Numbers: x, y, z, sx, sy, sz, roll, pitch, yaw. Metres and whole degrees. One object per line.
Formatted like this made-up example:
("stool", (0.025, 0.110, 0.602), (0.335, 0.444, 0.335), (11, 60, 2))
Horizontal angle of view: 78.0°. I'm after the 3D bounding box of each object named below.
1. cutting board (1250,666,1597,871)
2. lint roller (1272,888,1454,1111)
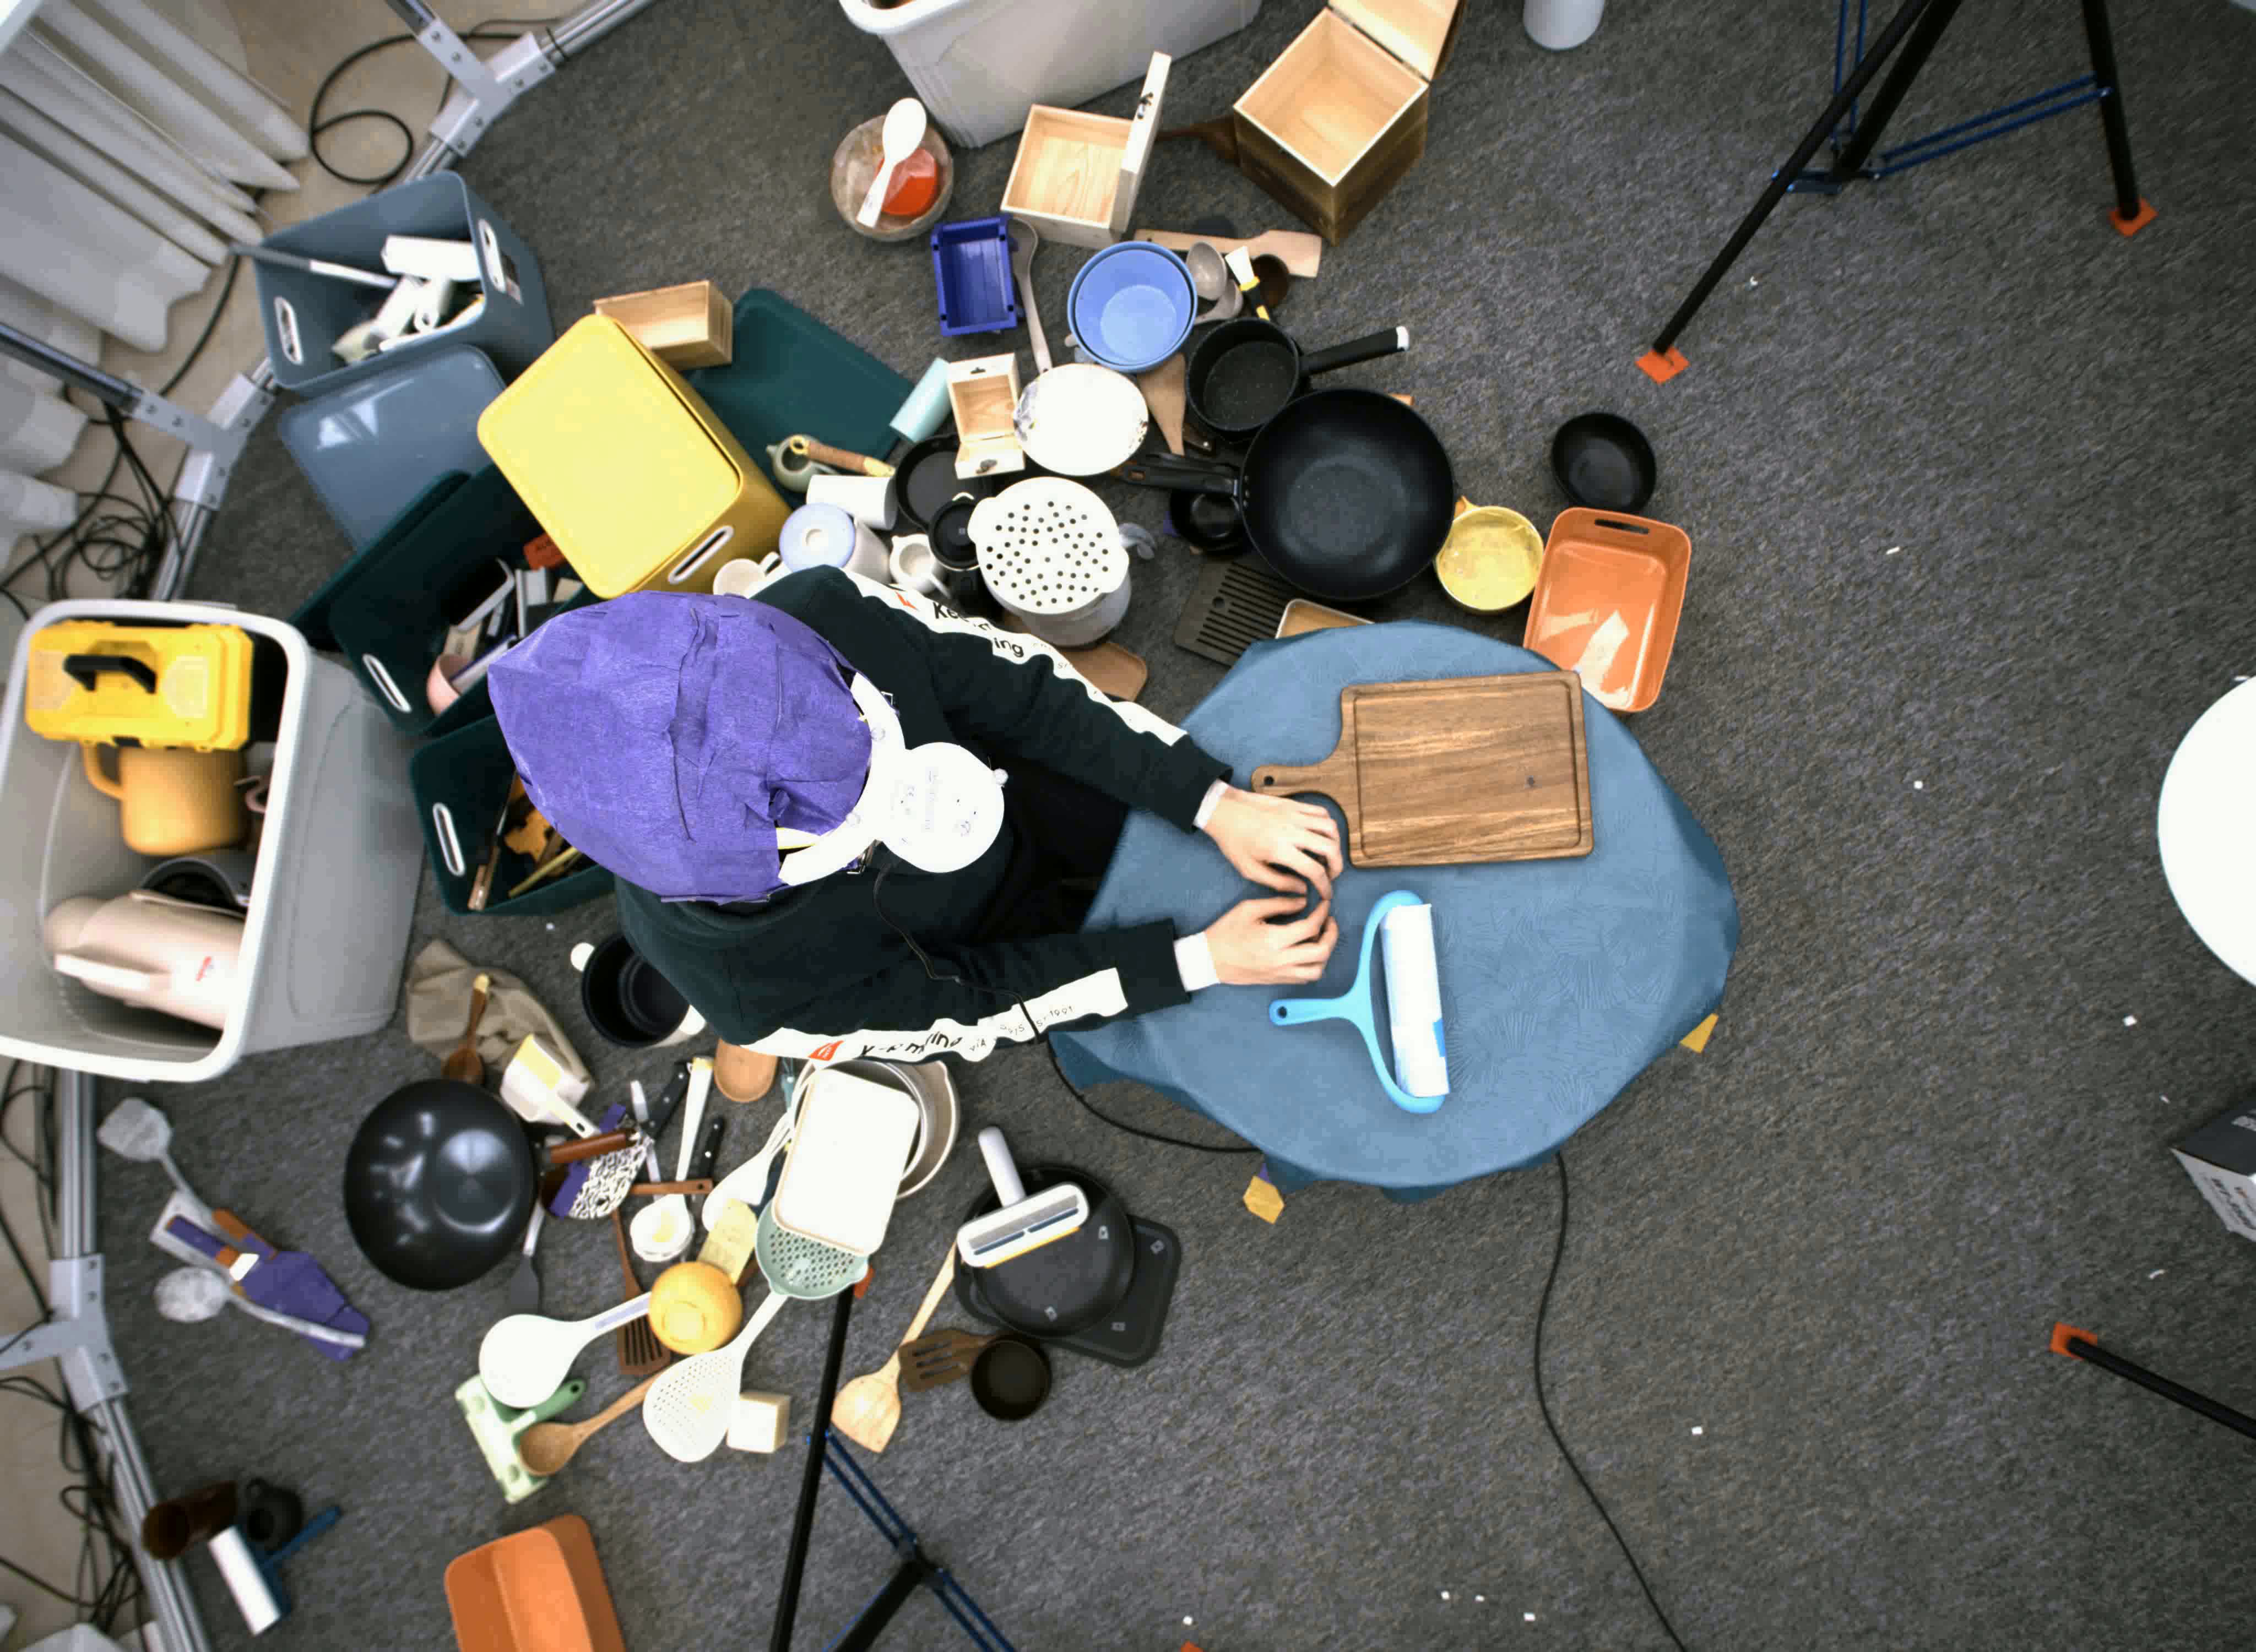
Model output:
("cutting board", (0.304, -0.058, 1.444), (0.354, 0.023, 0.200), (-4, 86, 10))
("lint roller", (0.237, 0.186, 1.427), (0.181, 0.068, 0.228), (-9, 87, 9))
